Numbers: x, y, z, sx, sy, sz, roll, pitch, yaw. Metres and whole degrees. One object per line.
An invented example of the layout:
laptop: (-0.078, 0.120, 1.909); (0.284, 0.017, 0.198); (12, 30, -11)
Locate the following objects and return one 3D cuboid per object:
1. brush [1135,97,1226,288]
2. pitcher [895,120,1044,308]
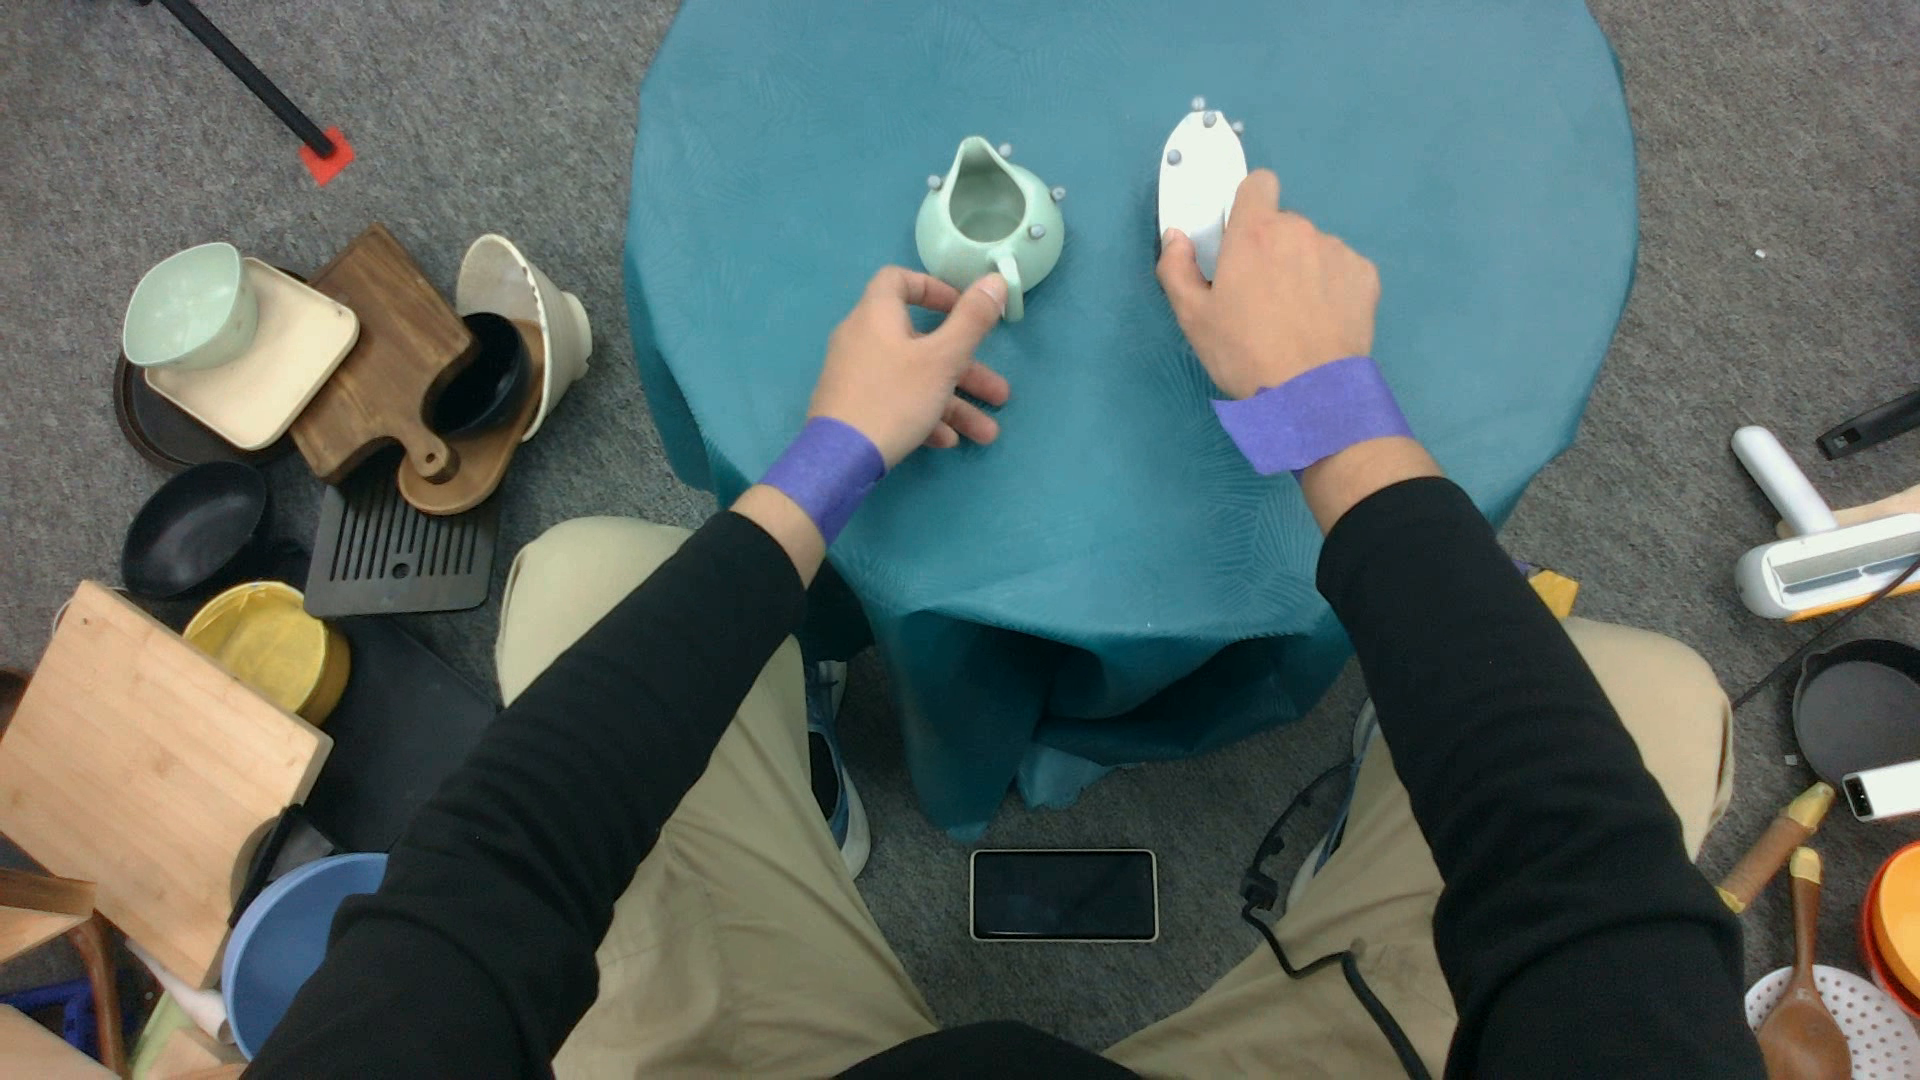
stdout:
brush: (0.126, -0.203, 0.777); (0.050, 0.072, 0.099); (4, 72, 6)
pitcher: (0.008, -0.180, 0.785); (0.086, 0.060, 0.108); (-17, 75, -2)
